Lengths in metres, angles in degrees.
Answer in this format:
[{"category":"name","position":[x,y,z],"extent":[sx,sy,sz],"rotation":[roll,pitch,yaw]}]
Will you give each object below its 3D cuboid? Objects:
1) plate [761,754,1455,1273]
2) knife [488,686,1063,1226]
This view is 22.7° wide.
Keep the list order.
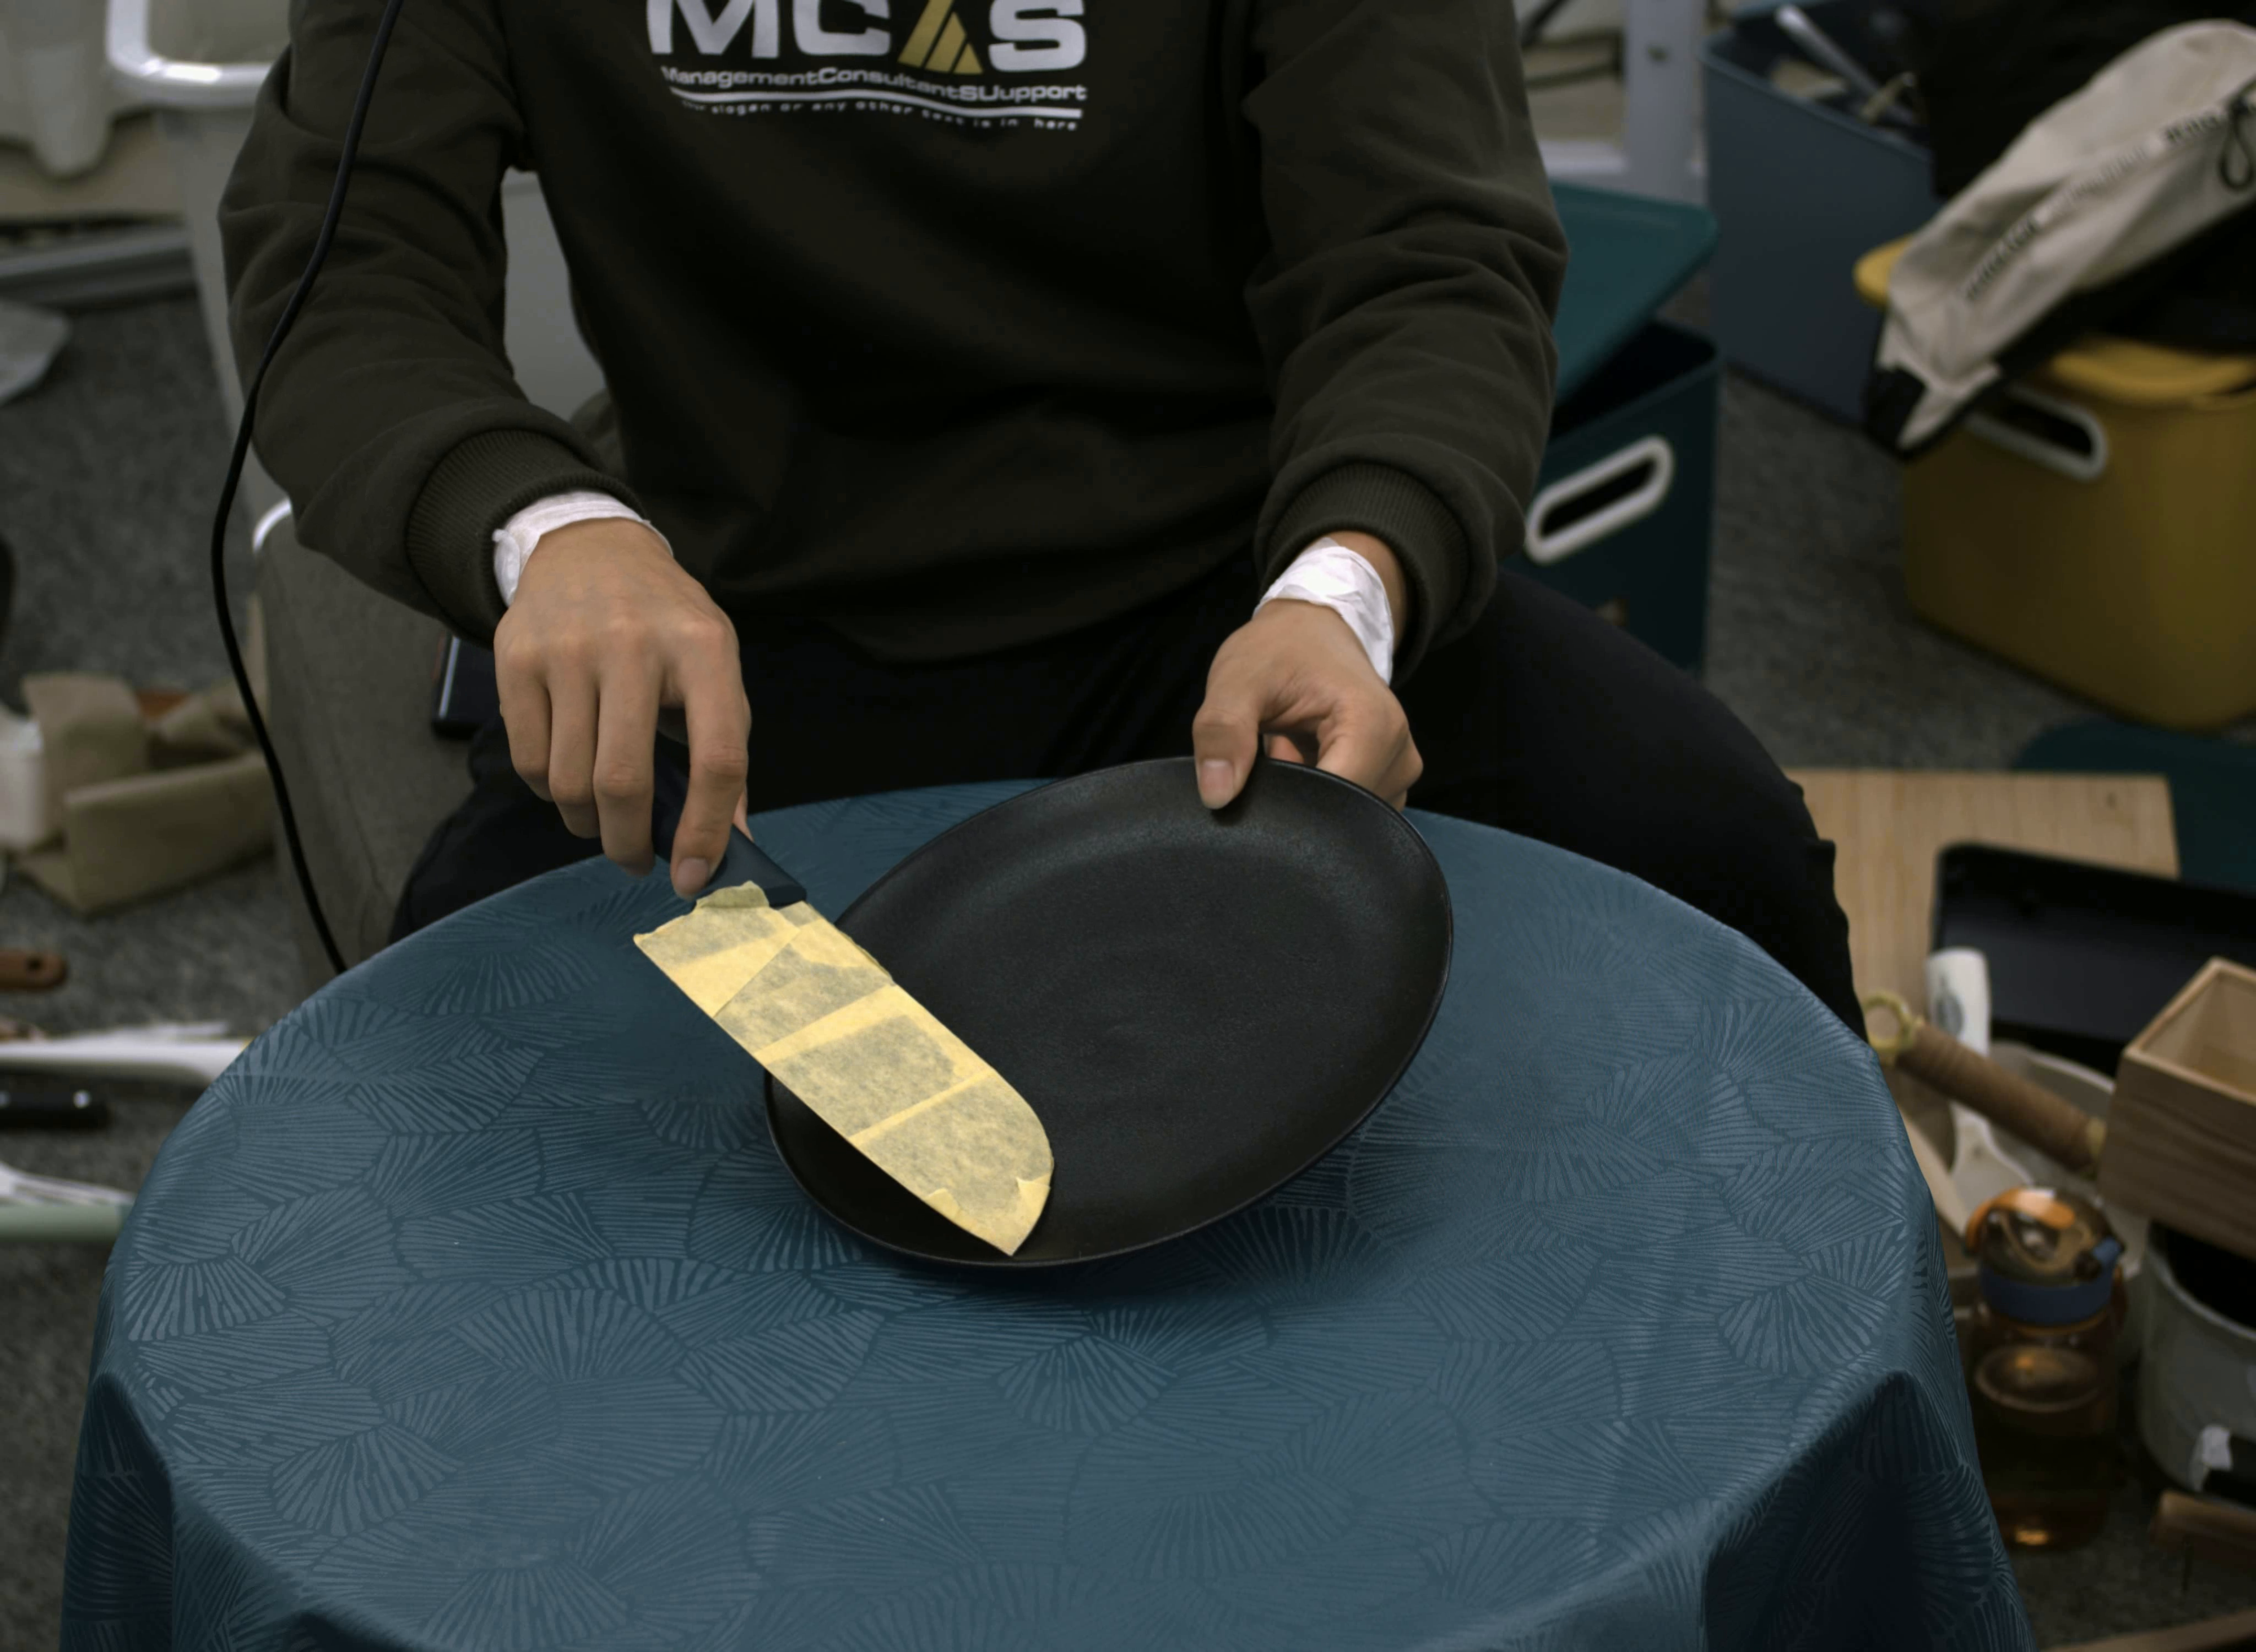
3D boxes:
[{"category":"plate","position":[-0.006,0.066,1.886],"extent":[0.242,0.023,0.249],"rotation":[-12,39,10]},{"category":"knife","position":[-0.125,0.044,1.879],"extent":[0.291,0.027,0.082],"rotation":[41,36,27]}]
